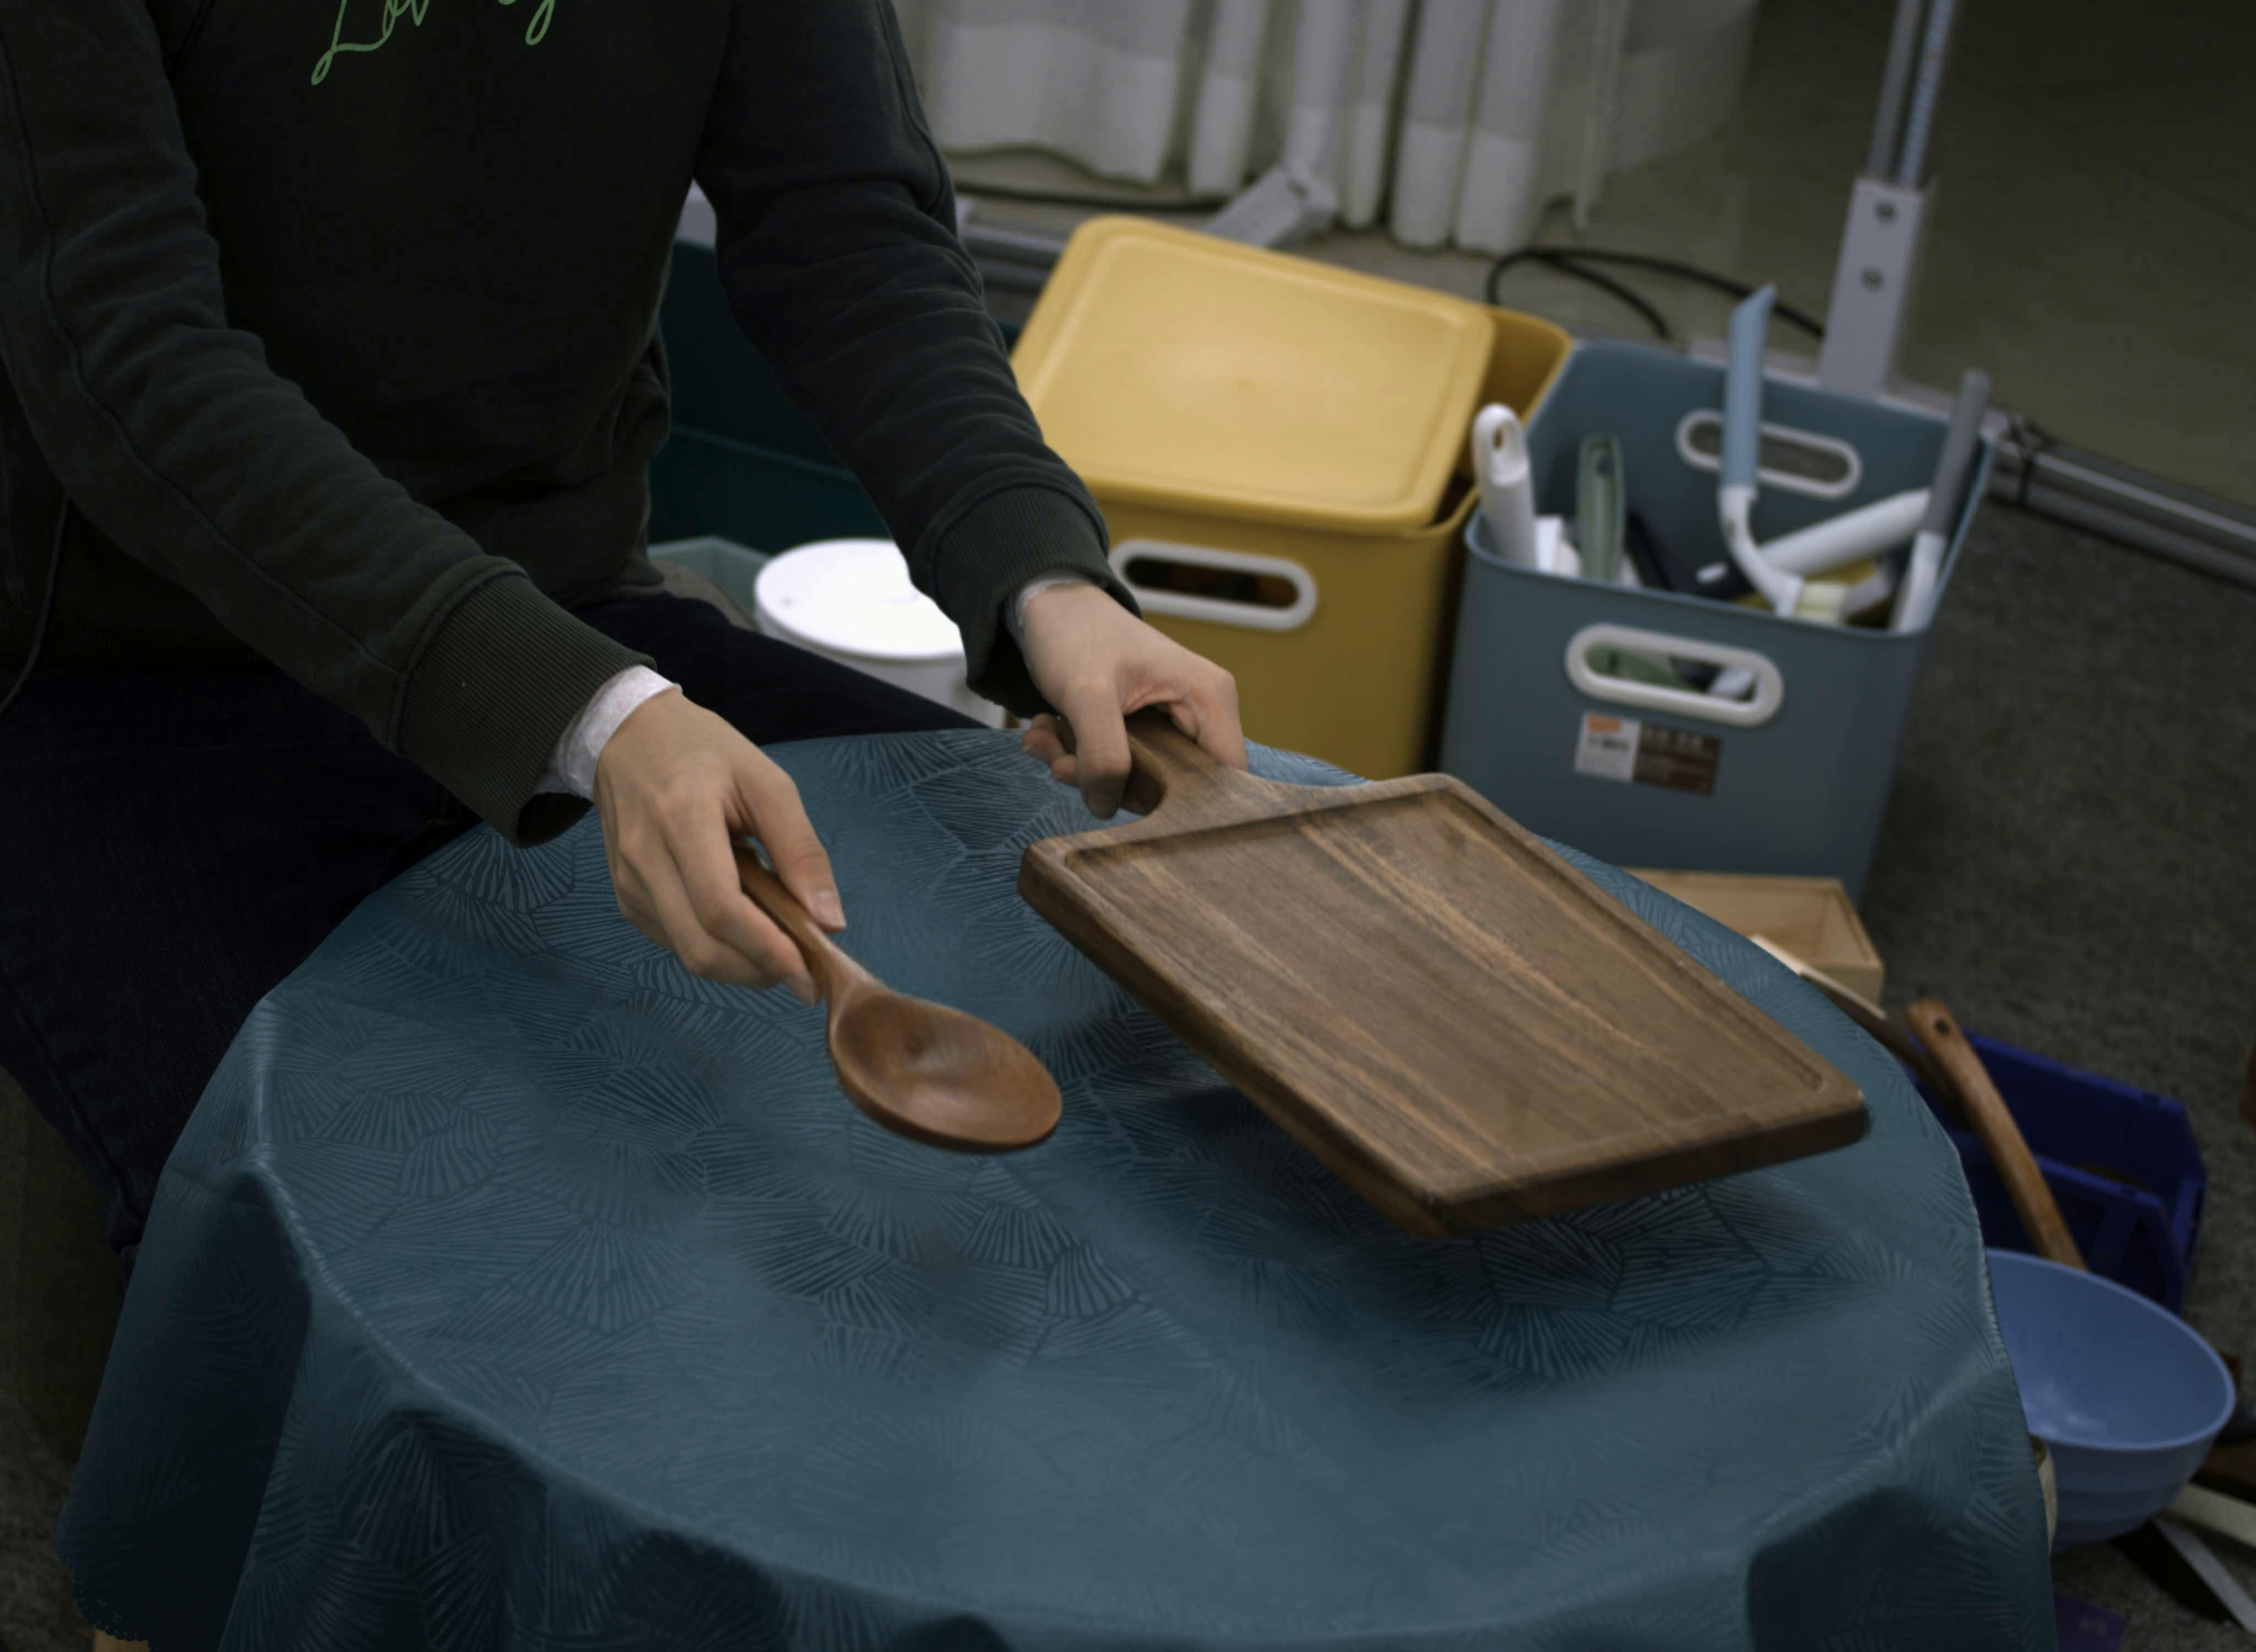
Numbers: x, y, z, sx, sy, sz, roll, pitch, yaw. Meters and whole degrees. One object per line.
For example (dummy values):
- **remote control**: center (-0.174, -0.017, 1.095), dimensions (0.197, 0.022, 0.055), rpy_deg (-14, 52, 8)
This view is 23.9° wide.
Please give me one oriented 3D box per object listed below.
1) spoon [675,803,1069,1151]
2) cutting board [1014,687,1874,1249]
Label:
- **spoon**: center (-0.093, 0.051, 1.776), dimensions (0.075, 0.017, 0.218), rpy_deg (-7, 34, -33)
- **cutting board**: center (0.080, 0.035, 1.877), dimensions (0.200, 0.023, 0.355), rpy_deg (-11, 33, -33)
